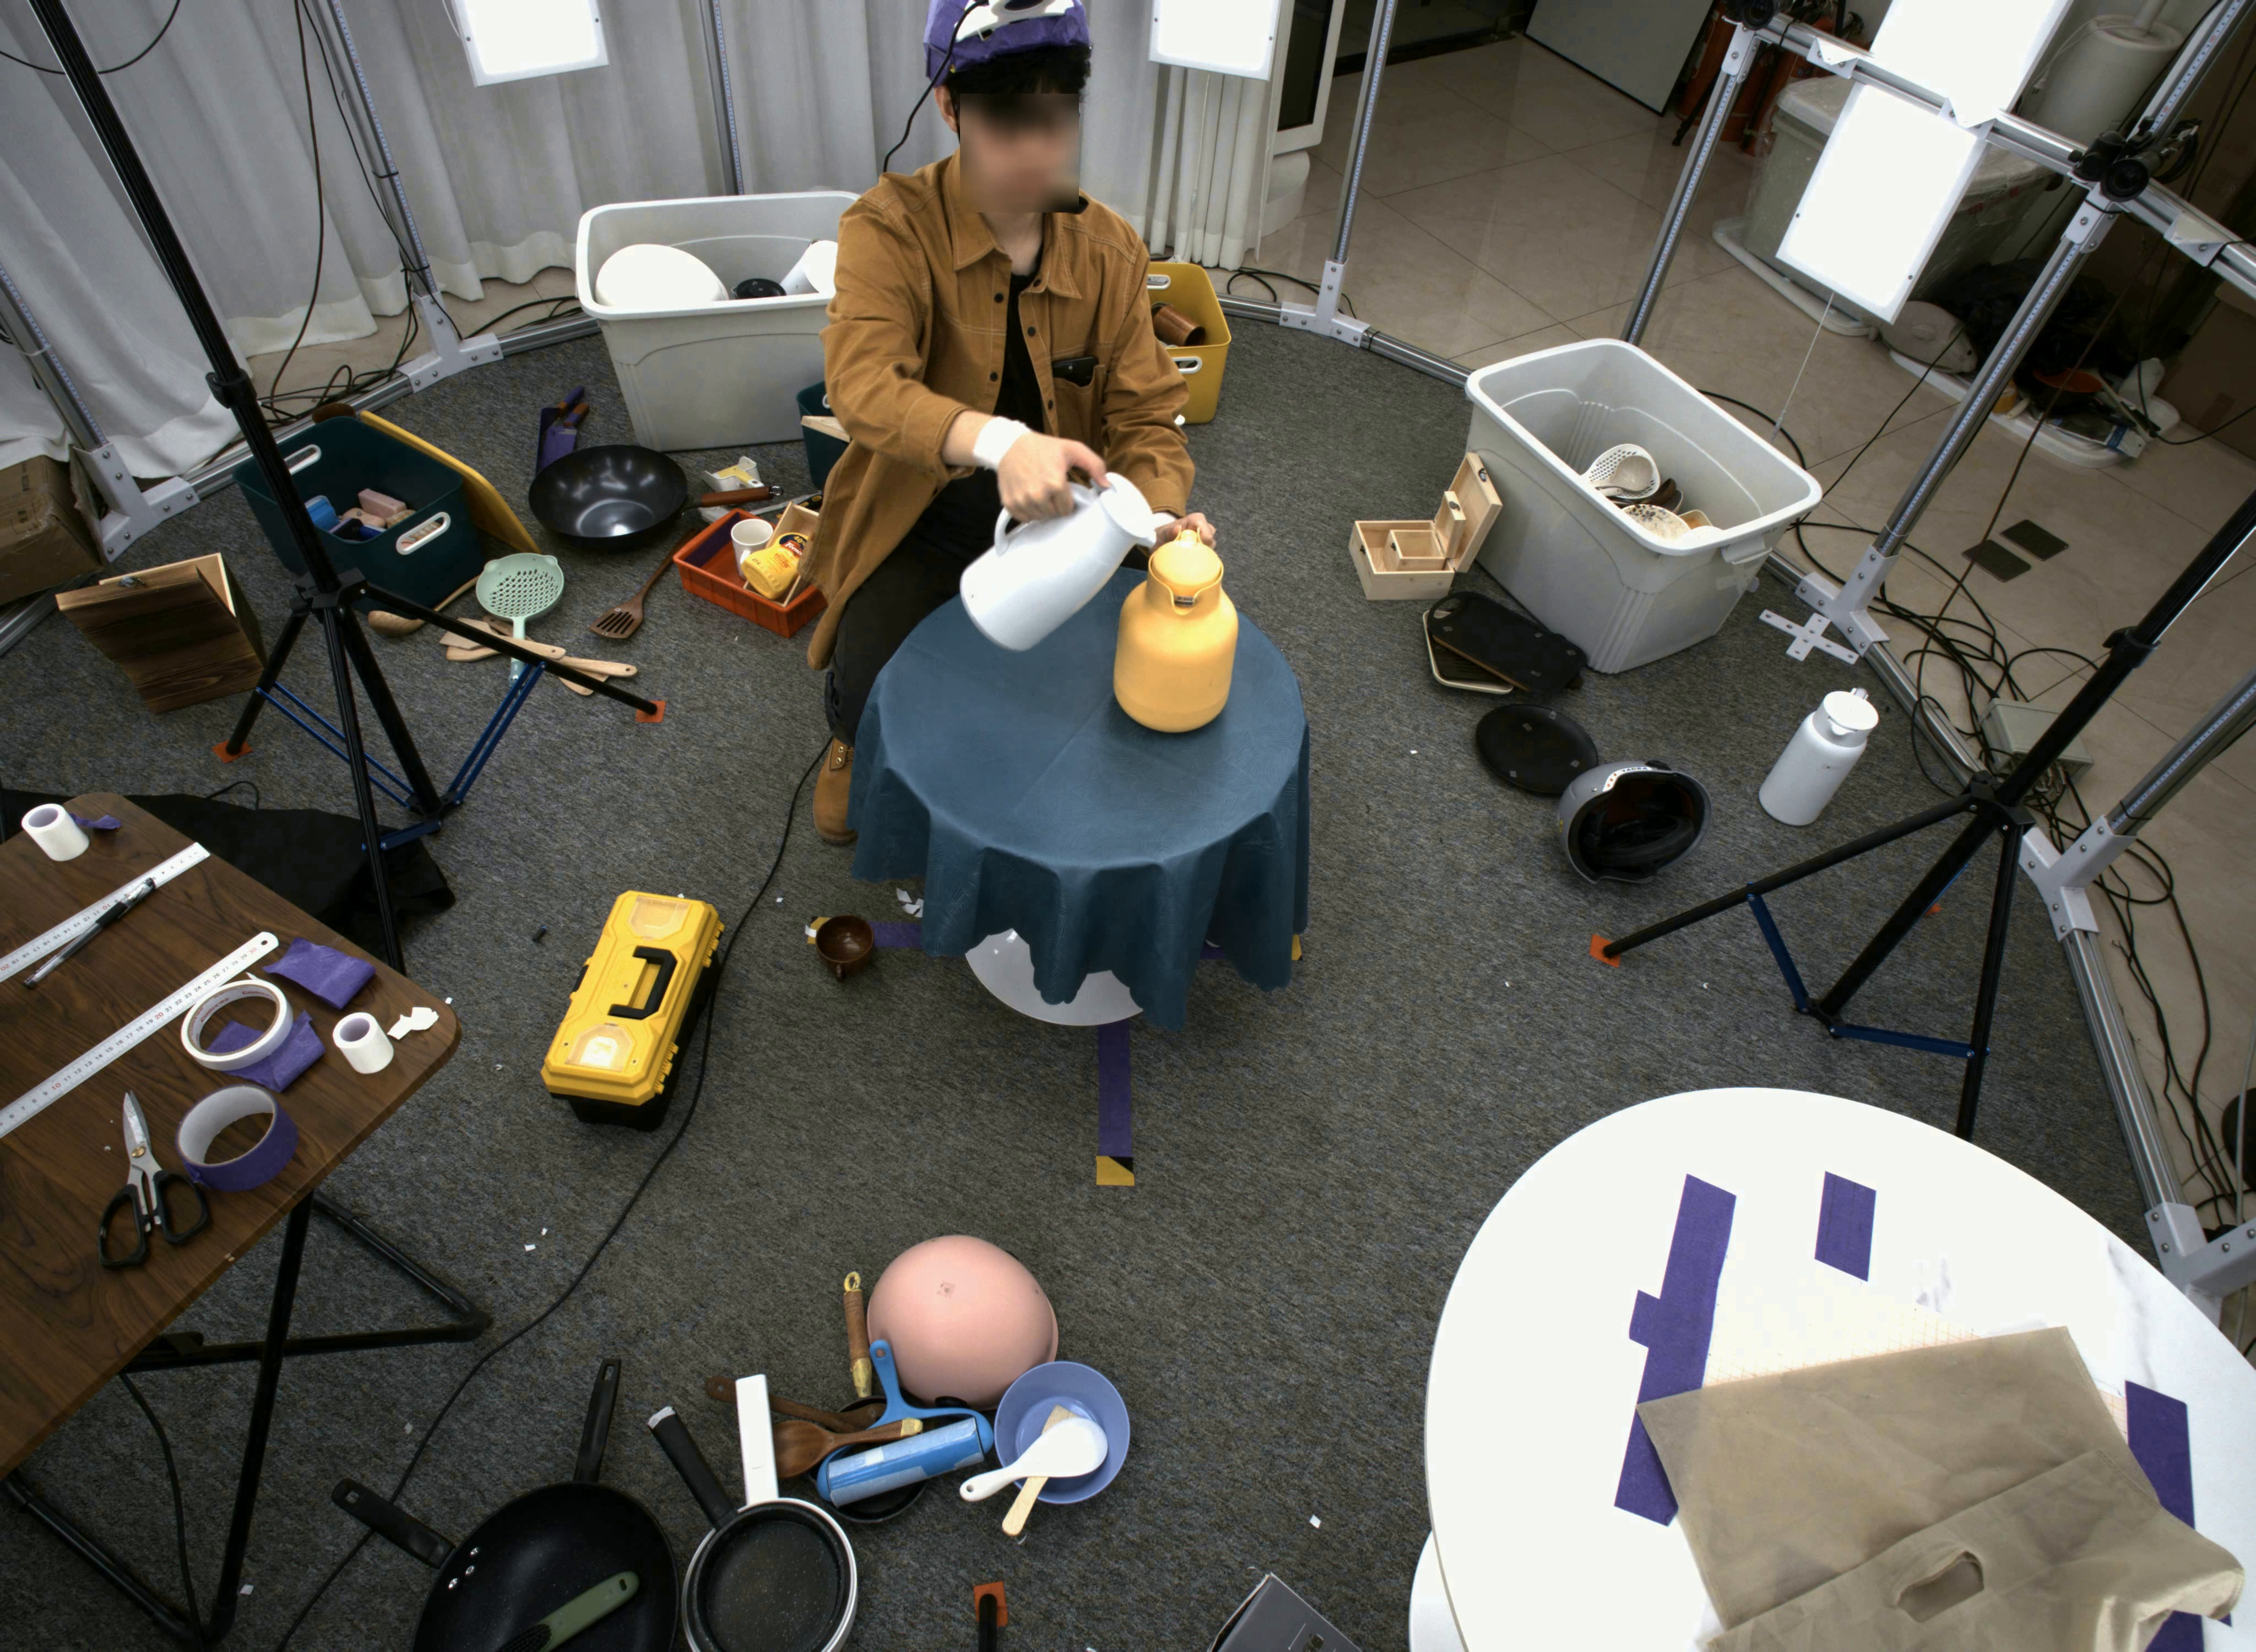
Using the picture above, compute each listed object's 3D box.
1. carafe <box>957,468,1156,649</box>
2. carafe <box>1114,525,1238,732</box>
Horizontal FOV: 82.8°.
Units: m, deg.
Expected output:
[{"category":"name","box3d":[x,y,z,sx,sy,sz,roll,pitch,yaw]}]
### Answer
[{"category":"carafe","box3d":[-0.095,-0.343,1.582,0.165,0.246,0.136,30,45,-35]},{"category":"carafe","box3d":[0.071,-0.275,1.745,0.163,0.254,0.207,9,51,2]}]
